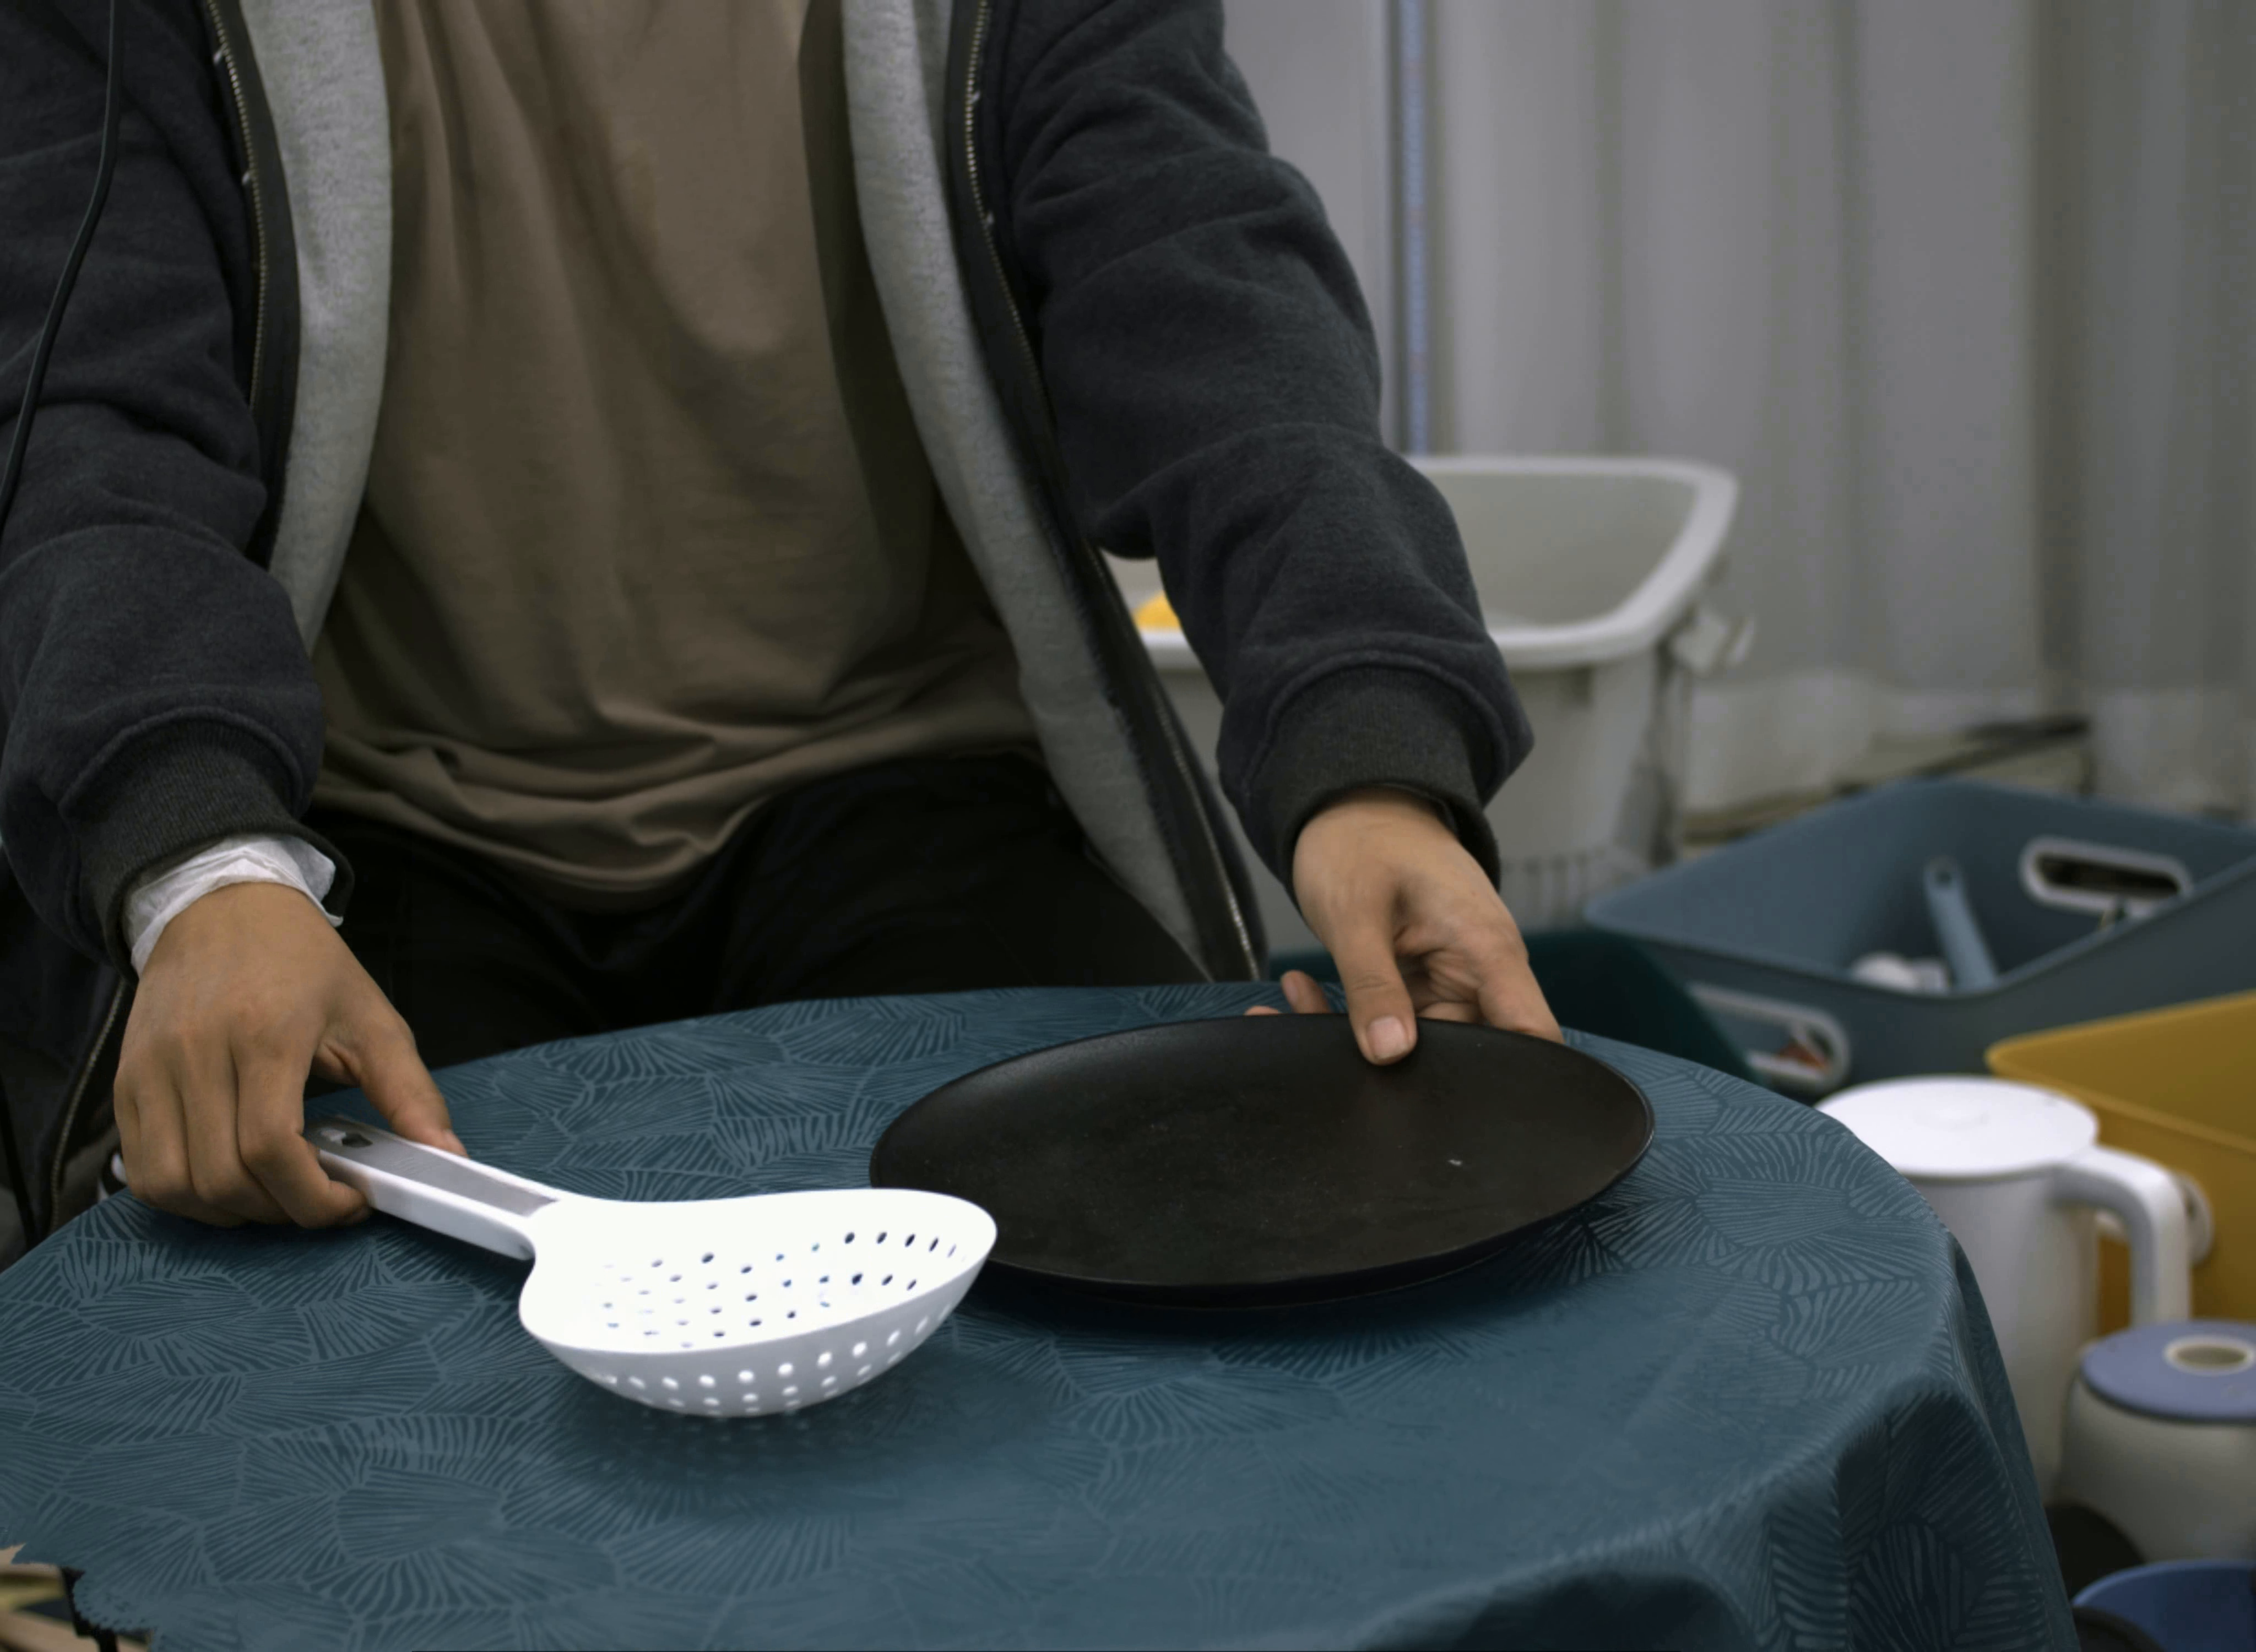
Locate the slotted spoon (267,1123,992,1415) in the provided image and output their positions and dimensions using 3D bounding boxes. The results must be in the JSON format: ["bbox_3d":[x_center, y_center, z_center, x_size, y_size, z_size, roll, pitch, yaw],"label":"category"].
[{"bbox_3d":[-0.167,0.122,1.632,0.135,0.045,0.352,-16,19,-34],"label":"slotted spoon"}]

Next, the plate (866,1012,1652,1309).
[{"bbox_3d":[0.041,0.106,1.687,0.243,0.023,0.246,-4,16,1],"label":"plate"}]
